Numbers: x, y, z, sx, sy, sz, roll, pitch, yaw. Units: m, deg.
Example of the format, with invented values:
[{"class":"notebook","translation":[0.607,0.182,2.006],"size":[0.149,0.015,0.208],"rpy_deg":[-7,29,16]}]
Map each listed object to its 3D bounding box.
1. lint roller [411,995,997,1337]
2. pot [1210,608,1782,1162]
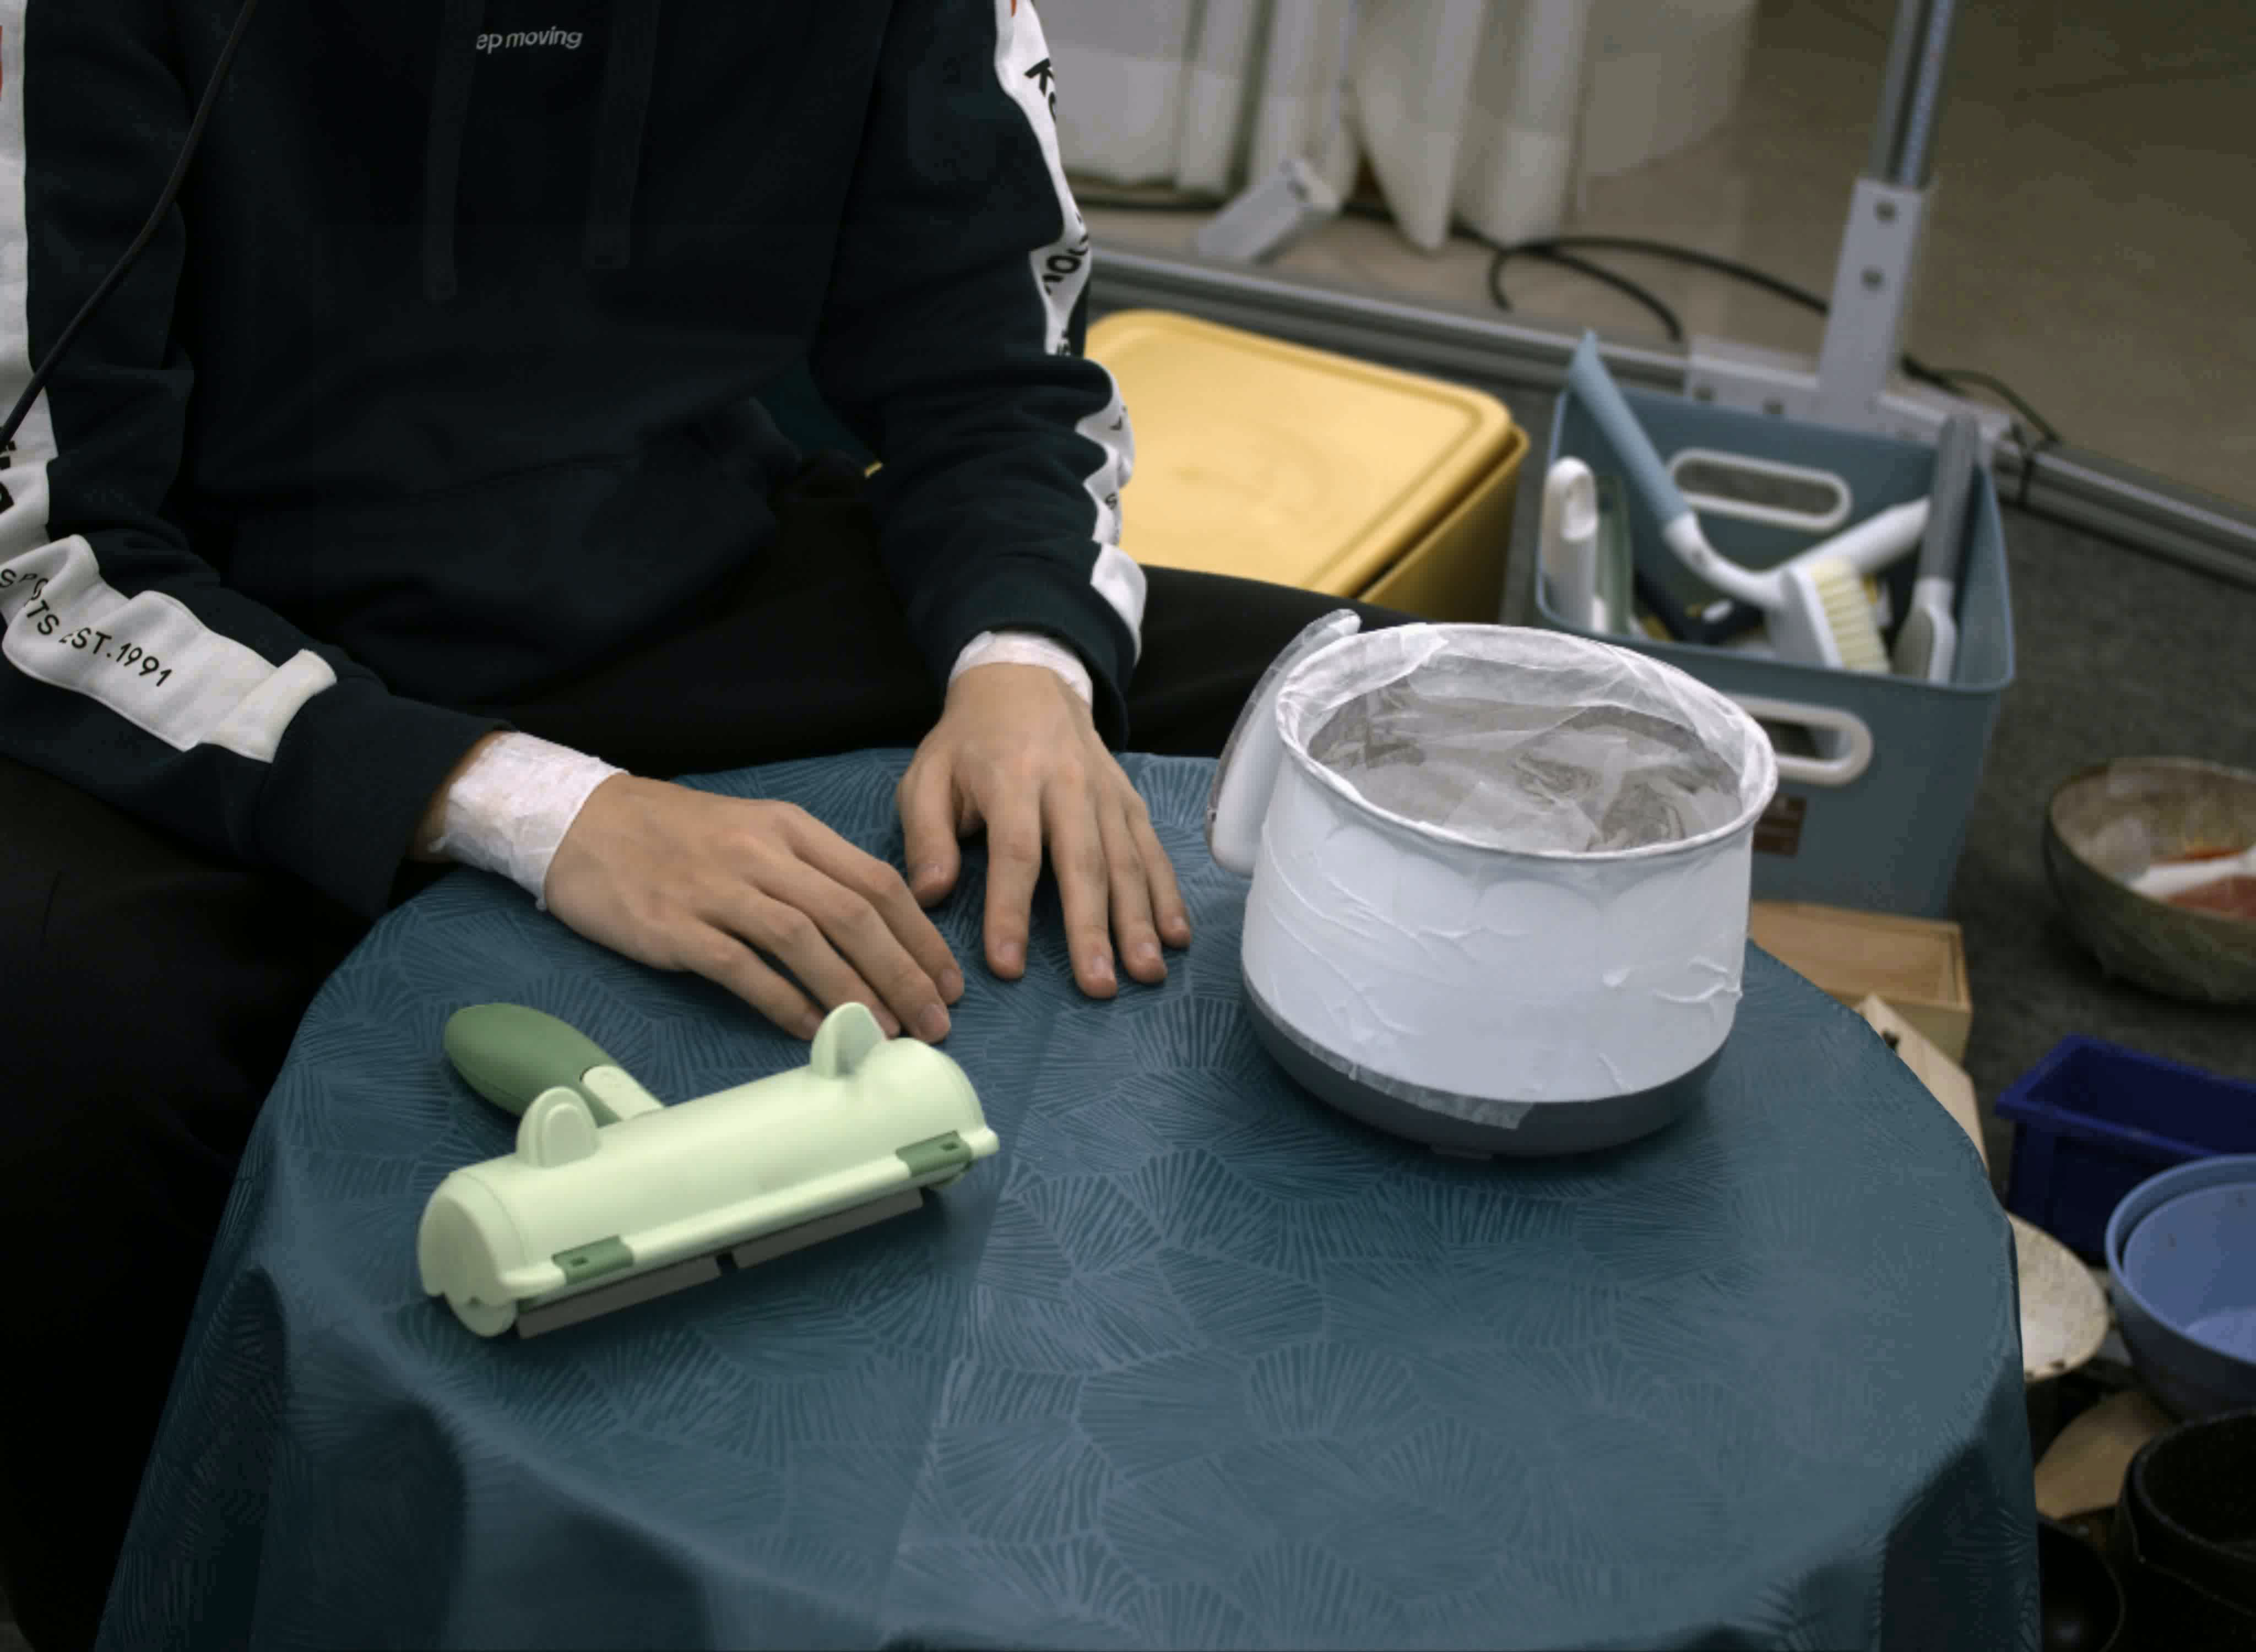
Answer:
[{"class":"lint roller","translation":[-0.170,0.083,1.758],"size":[0.197,0.082,0.185],"rpy_deg":[-15,39,-36]},{"class":"pot","translation":[0.114,0.013,1.891],"size":[0.177,0.136,0.236],"rpy_deg":[-15,34,-37]}]
